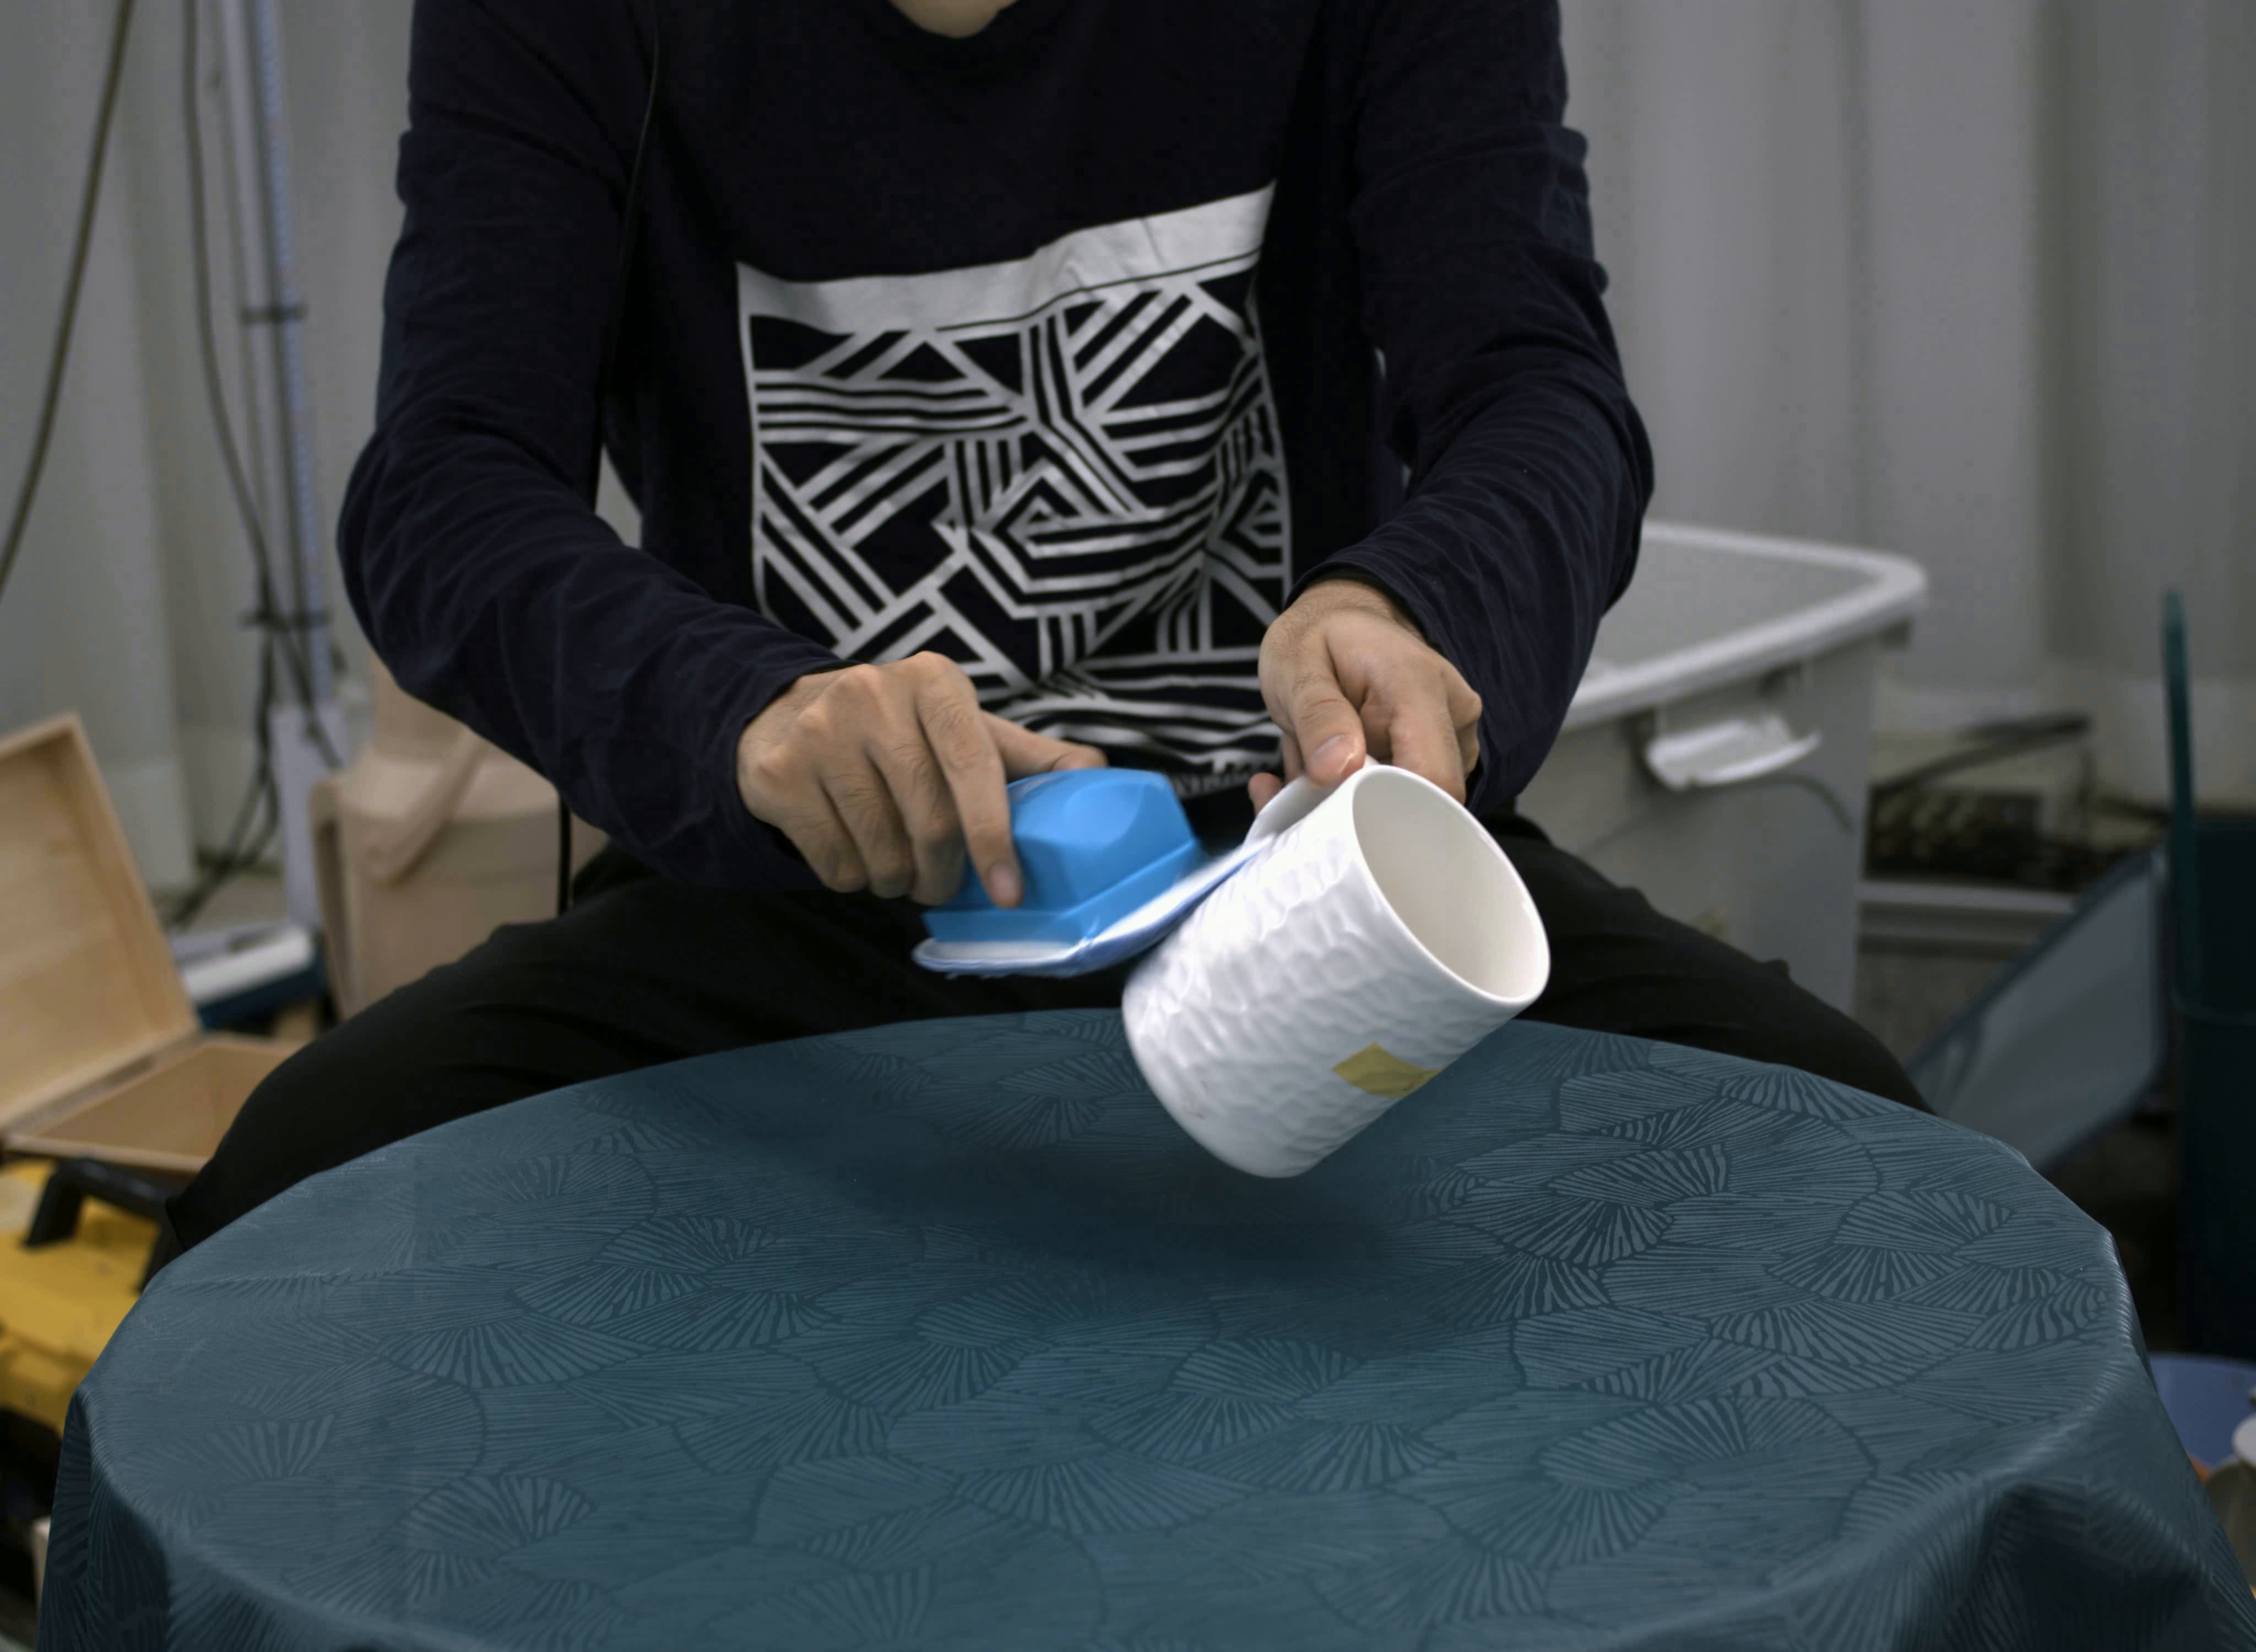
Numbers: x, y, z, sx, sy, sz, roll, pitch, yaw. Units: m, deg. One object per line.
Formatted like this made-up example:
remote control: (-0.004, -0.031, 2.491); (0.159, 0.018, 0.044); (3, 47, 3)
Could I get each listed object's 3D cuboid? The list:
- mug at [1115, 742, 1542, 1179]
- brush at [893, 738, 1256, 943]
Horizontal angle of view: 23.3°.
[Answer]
mug: (0.056, 0.033, 1.638); (0.084, 0.101, 0.120); (28, 35, -34)
brush: (-0.022, 0.003, 1.693); (0.084, 0.056, 0.144); (-26, 11, -20)
